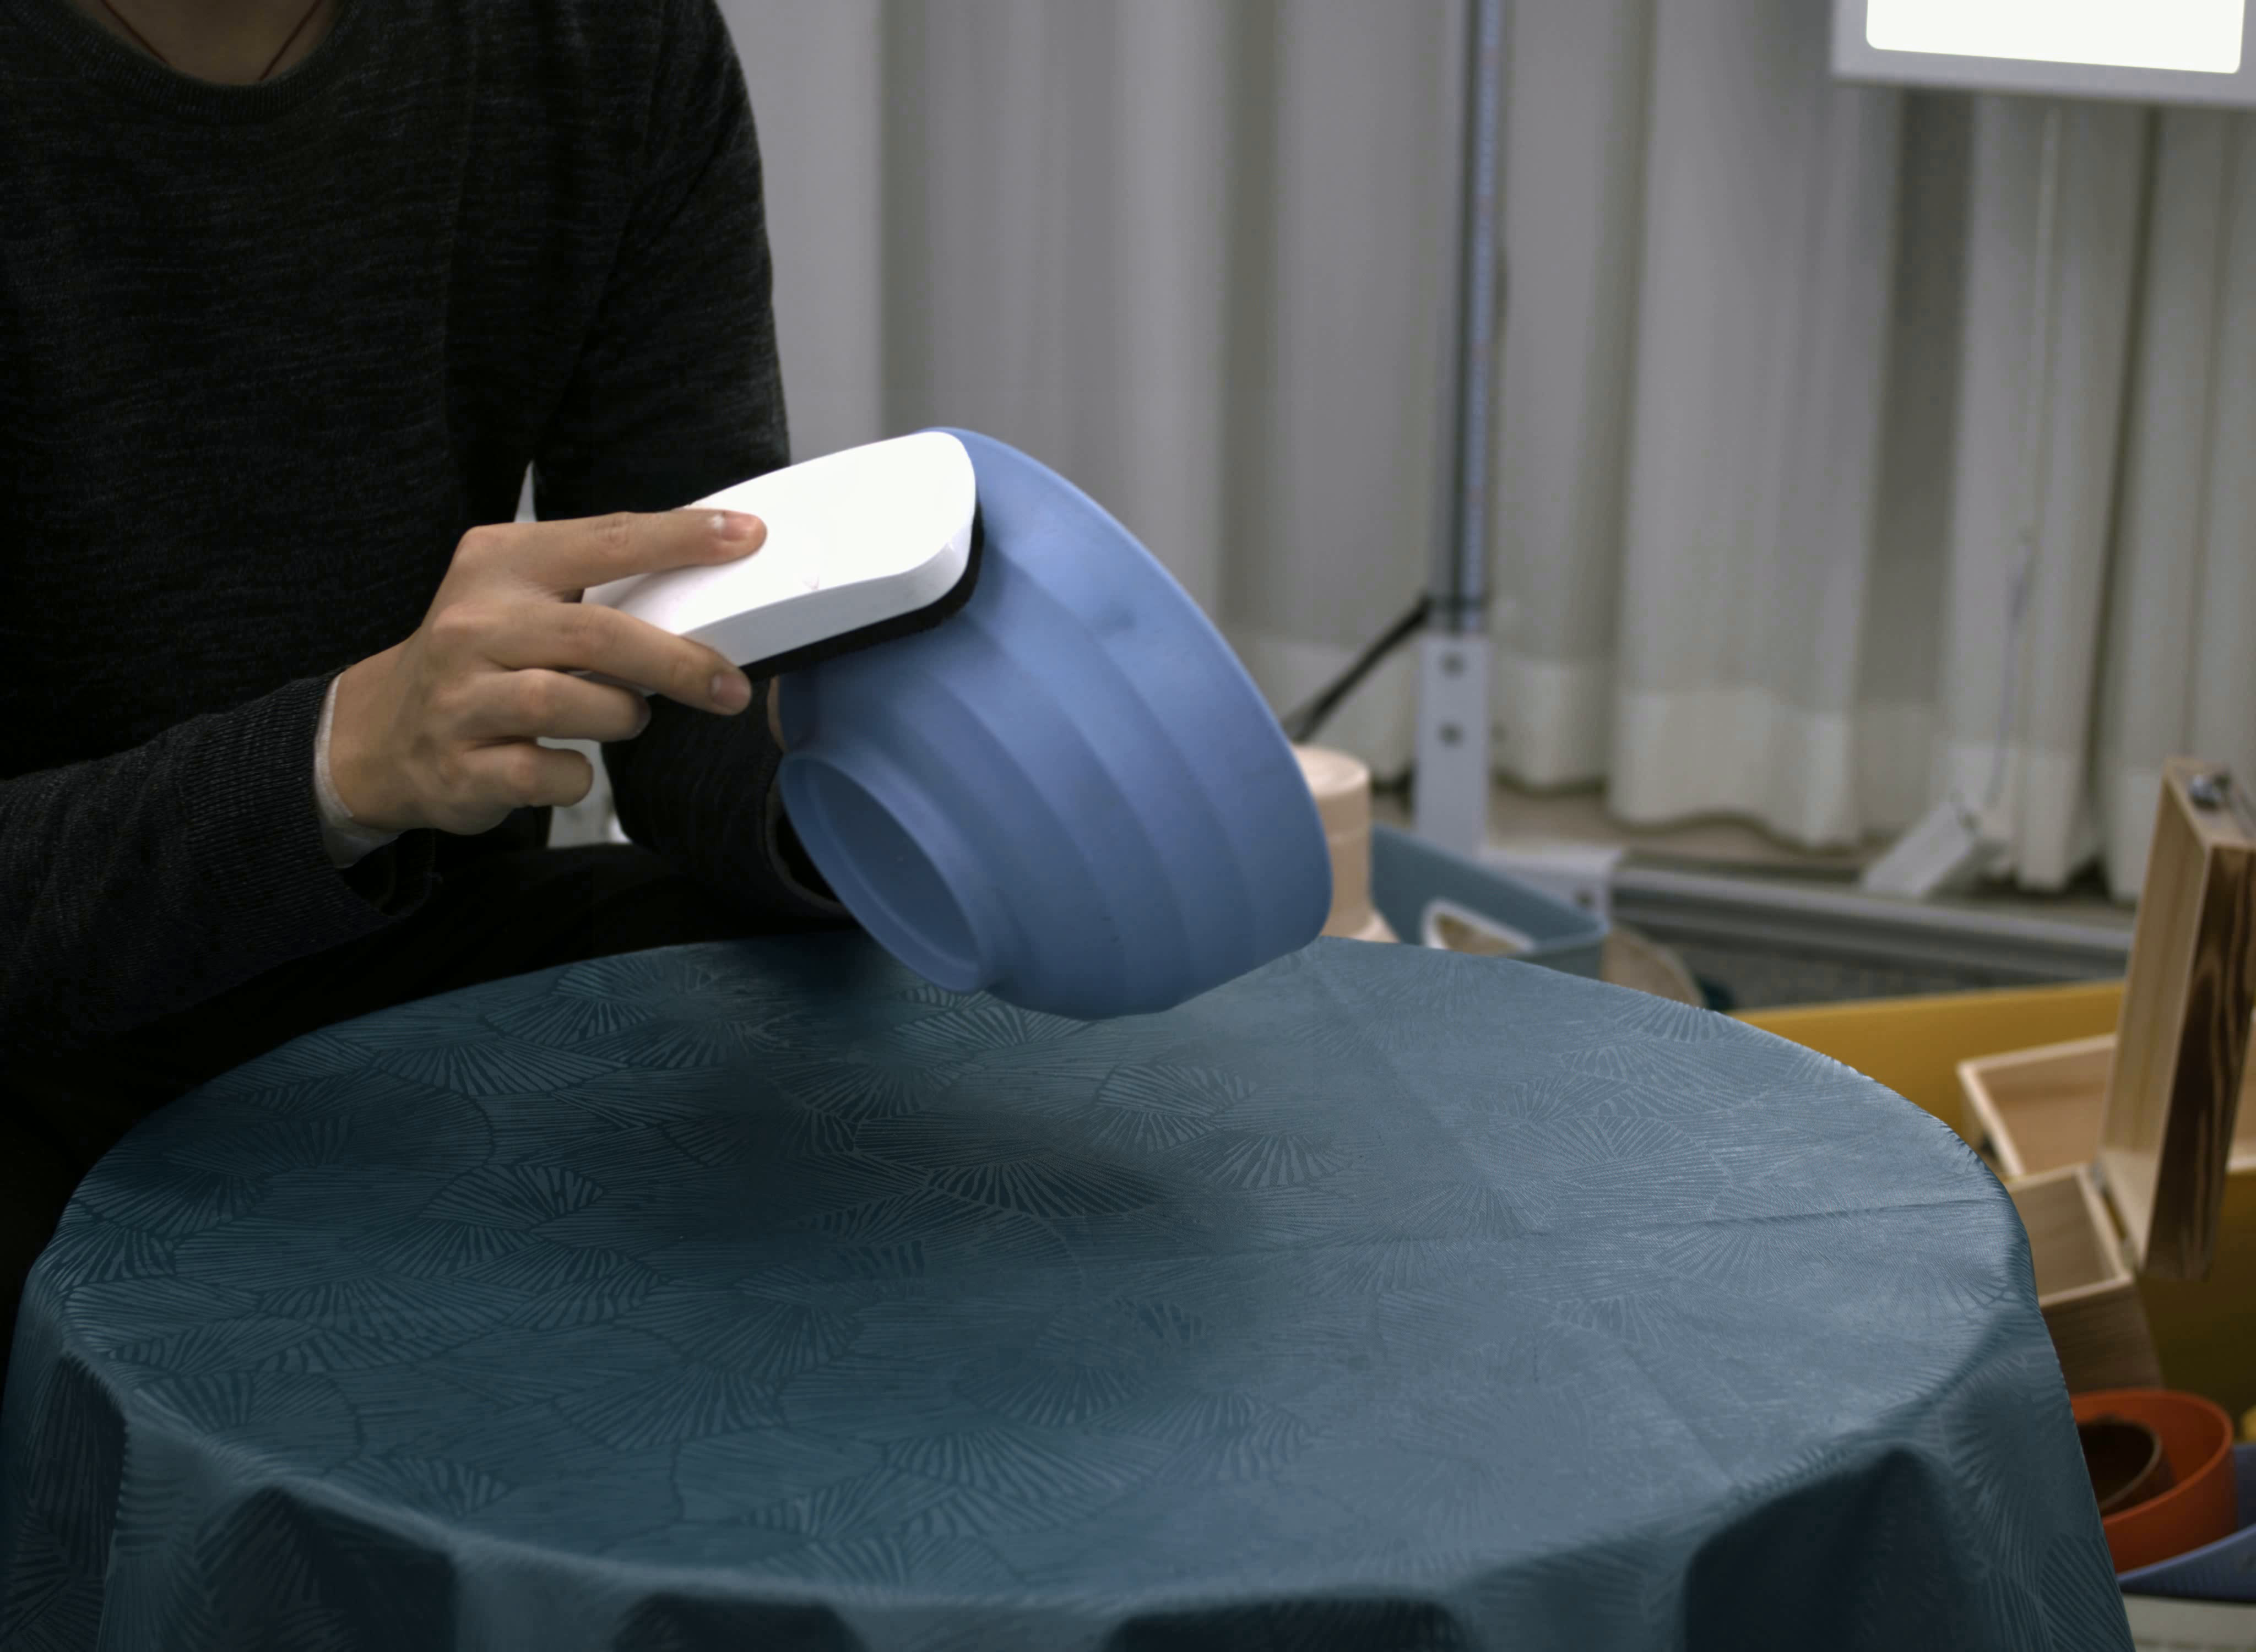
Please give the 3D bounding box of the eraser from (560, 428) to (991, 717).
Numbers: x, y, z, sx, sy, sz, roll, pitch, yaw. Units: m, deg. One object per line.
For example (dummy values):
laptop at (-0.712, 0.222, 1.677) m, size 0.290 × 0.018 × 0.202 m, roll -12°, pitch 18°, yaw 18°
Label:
eraser at (-0.102, -0.075, 1.516) m, size 0.130 × 0.035 × 0.063 m, roll -16°, pitch 40°, yaw 24°

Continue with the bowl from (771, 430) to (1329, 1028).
bowl at (-0.041, -0.012, 1.574) m, size 0.095 × 0.199 × 0.194 m, roll -40°, pitch 33°, yaw -20°
